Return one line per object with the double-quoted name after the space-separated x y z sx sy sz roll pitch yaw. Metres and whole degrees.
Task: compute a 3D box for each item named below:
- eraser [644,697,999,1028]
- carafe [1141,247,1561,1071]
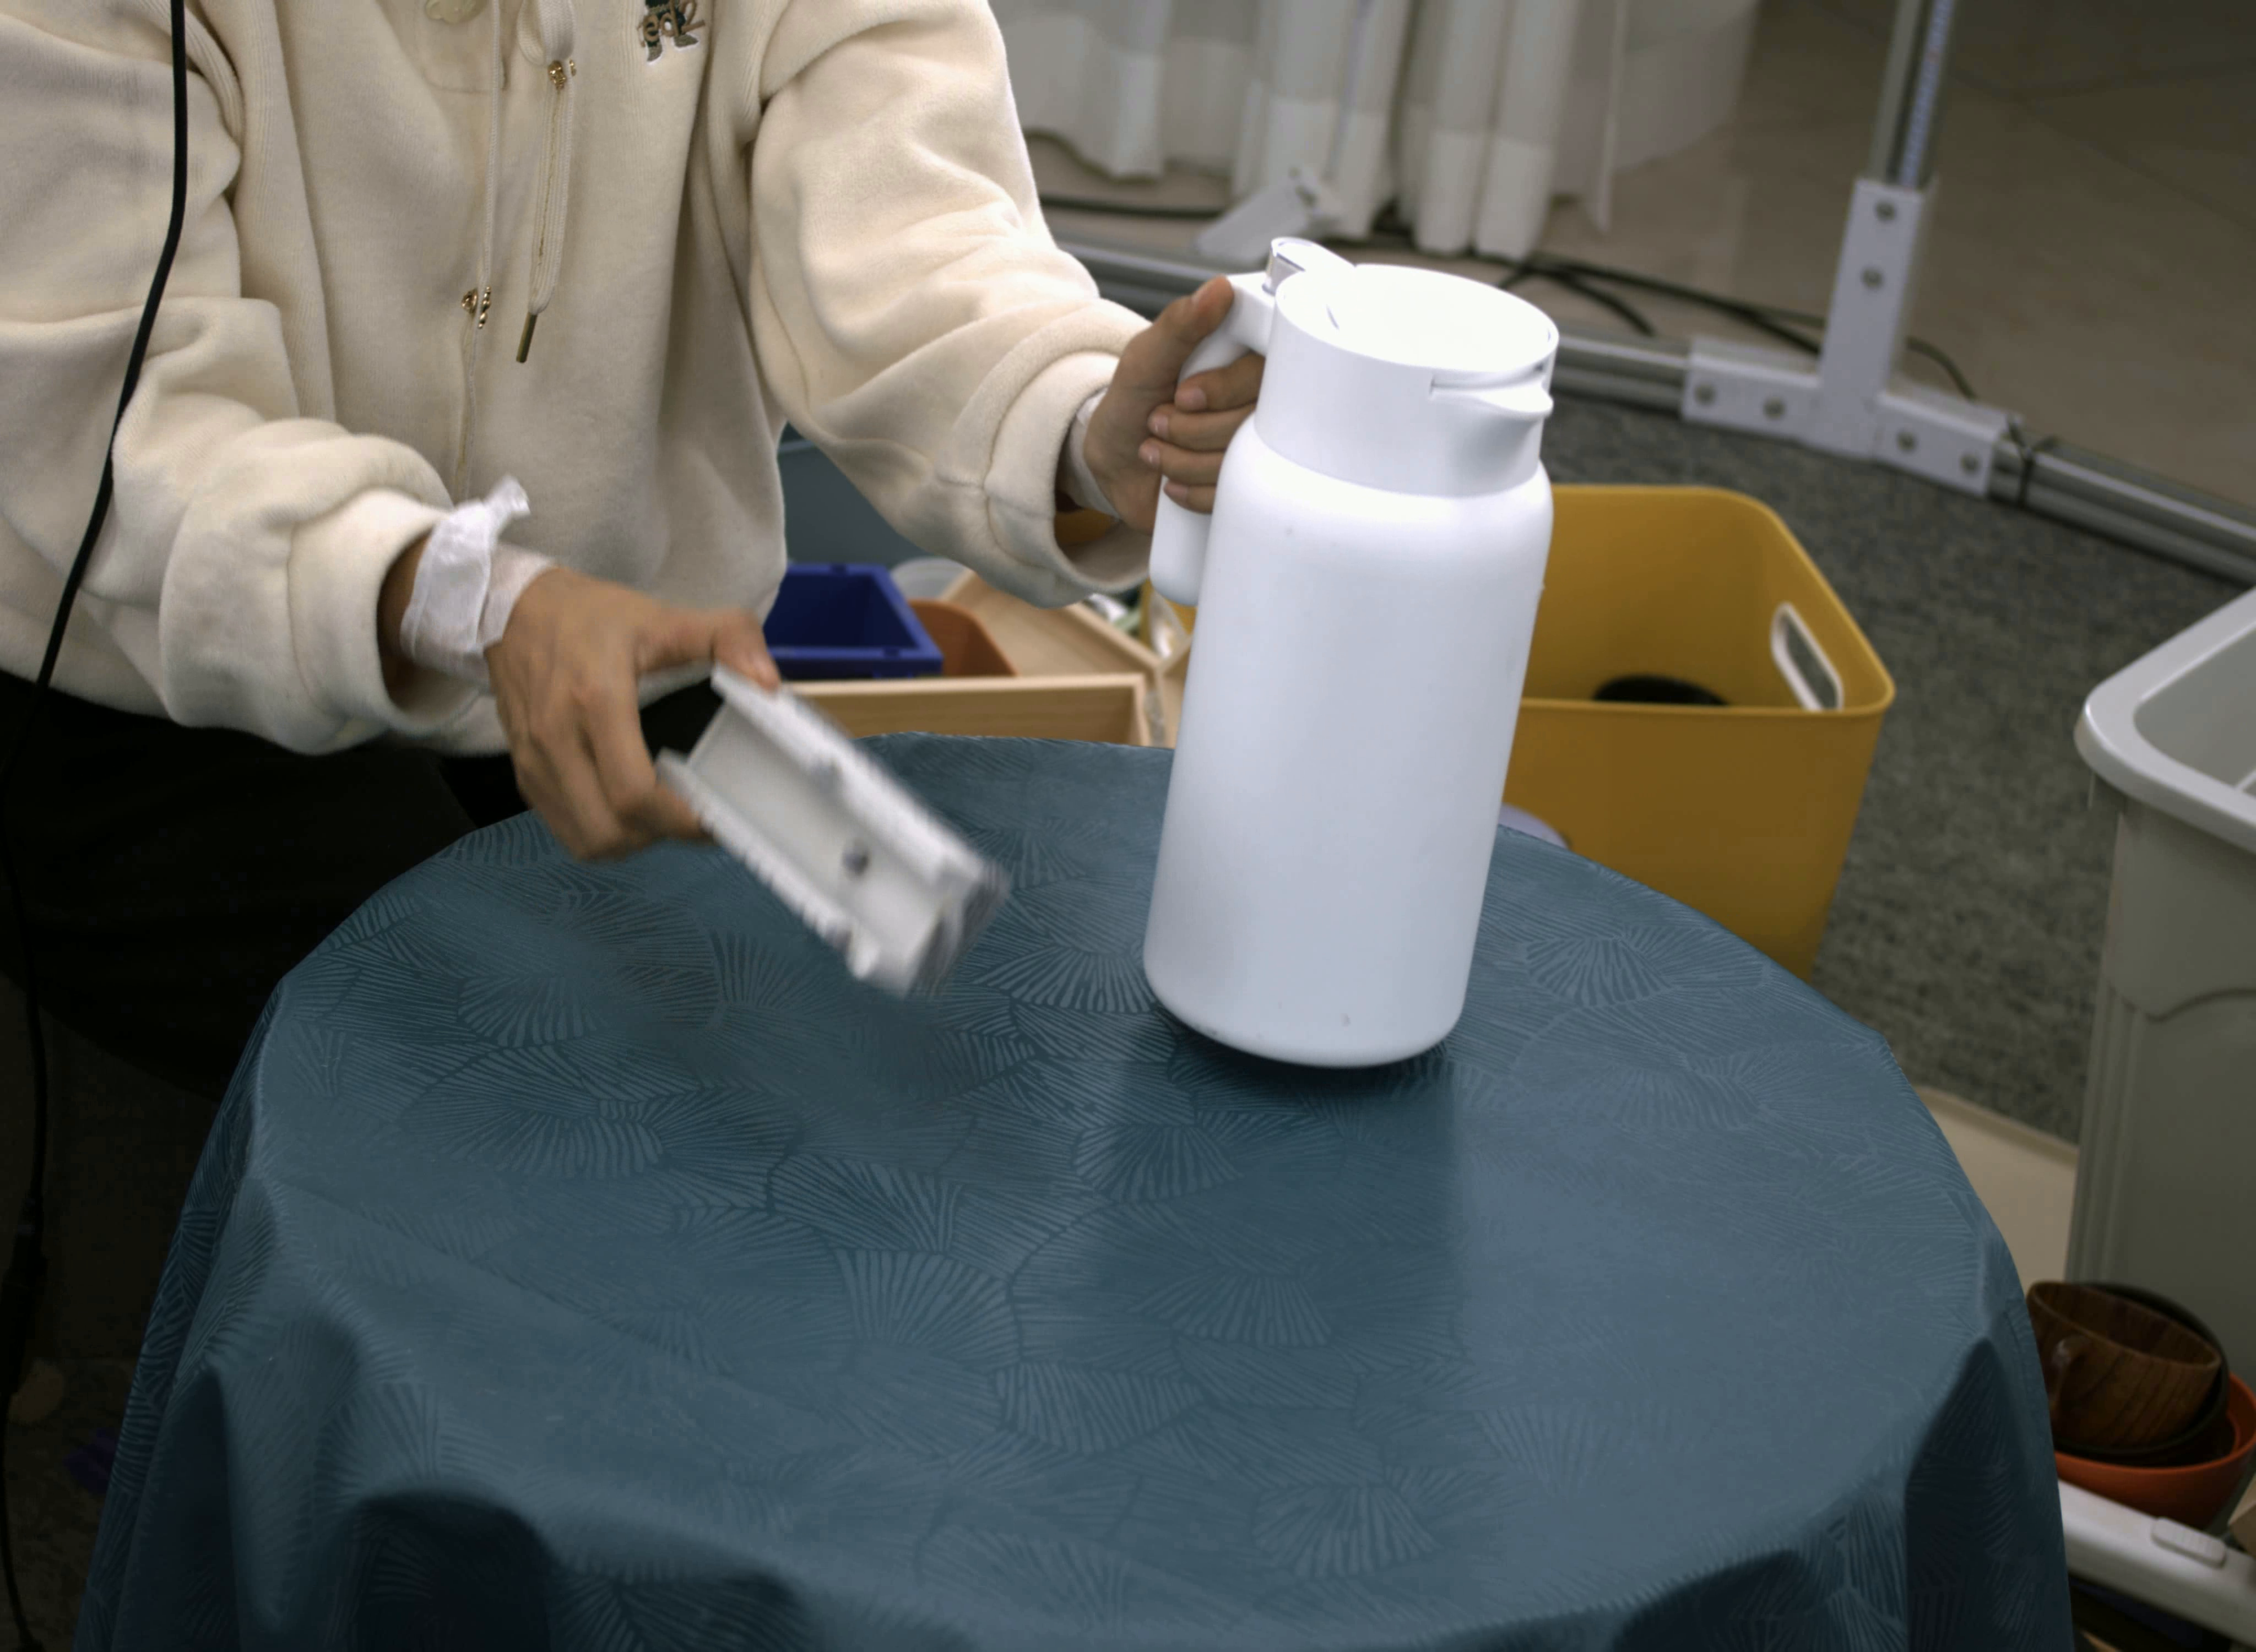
-0.105 0.013 1.824 0.135 0.050 0.046 39 9 38 "eraser"
0.069 -0.062 1.873 0.123 0.268 0.174 -12 32 -34 "carafe"
